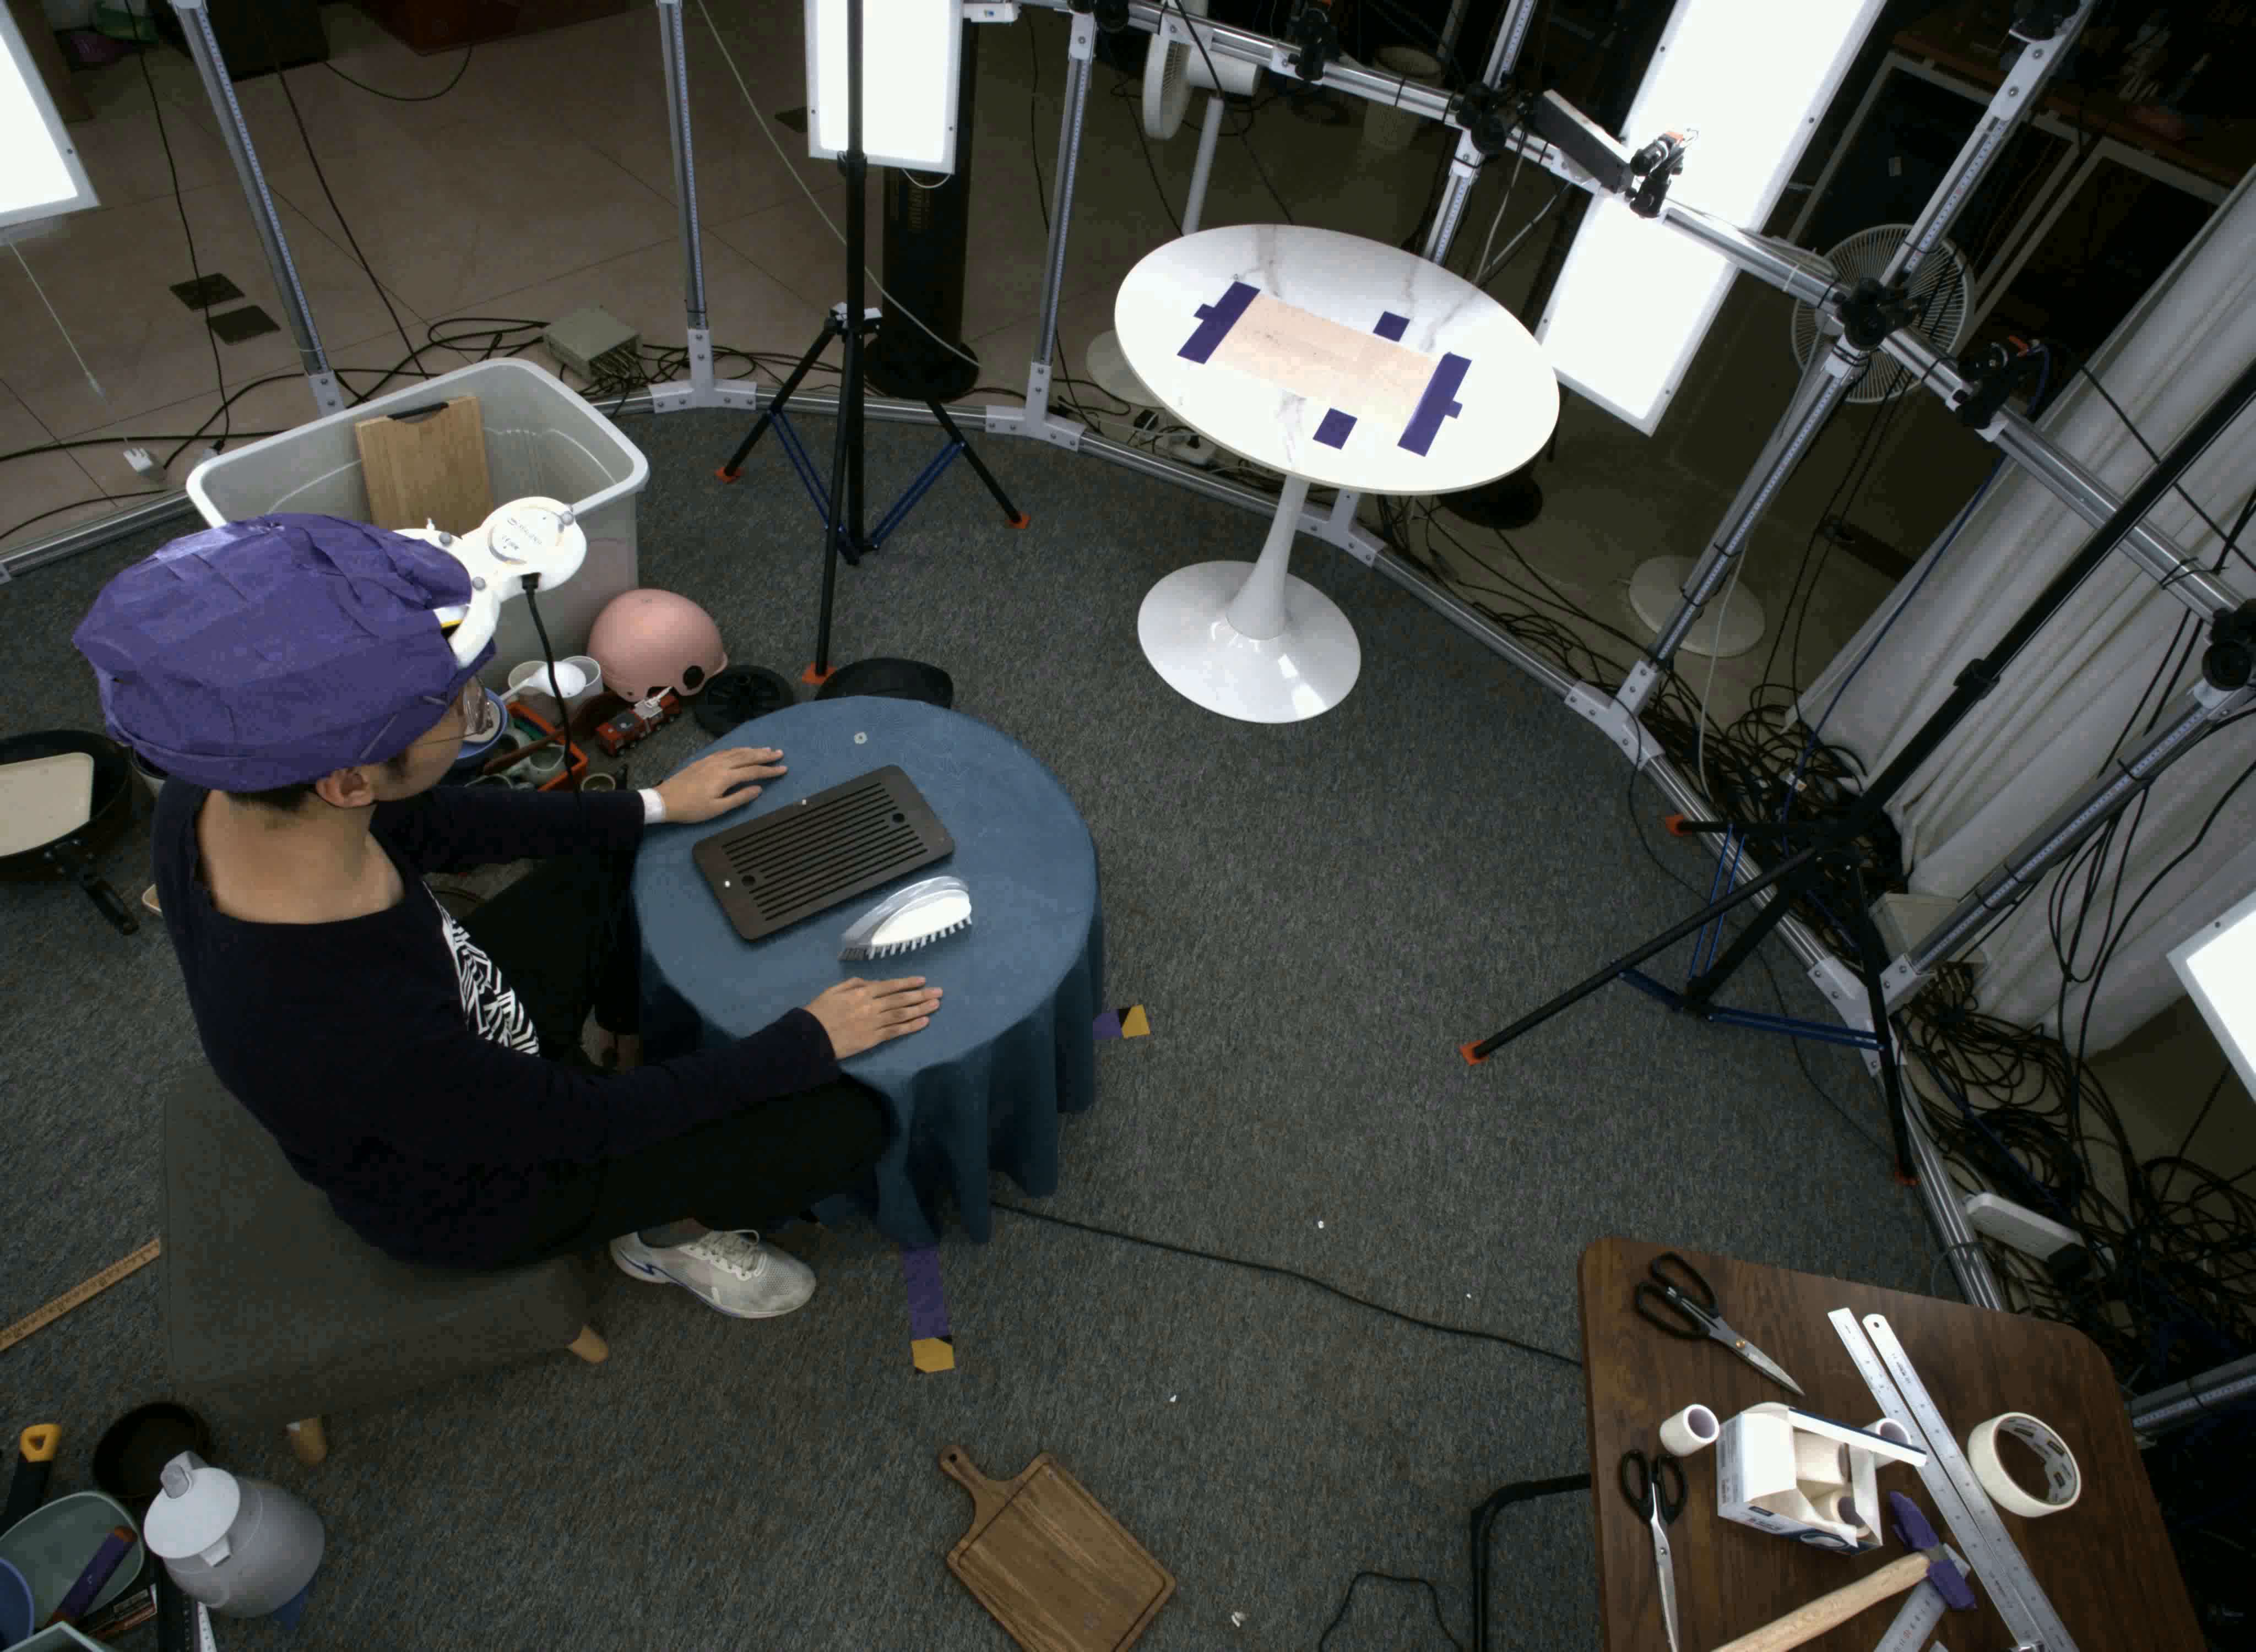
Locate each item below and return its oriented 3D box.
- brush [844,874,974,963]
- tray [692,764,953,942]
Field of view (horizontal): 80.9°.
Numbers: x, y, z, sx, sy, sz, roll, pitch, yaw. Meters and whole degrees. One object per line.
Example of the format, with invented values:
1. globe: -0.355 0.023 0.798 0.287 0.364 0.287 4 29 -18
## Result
1. brush: -0.276 0.111 1.621 0.176 0.096 0.060 -23 61 -25
2. tray: -0.397 0.030 1.699 0.307 0.019 0.166 -25 63 -28
